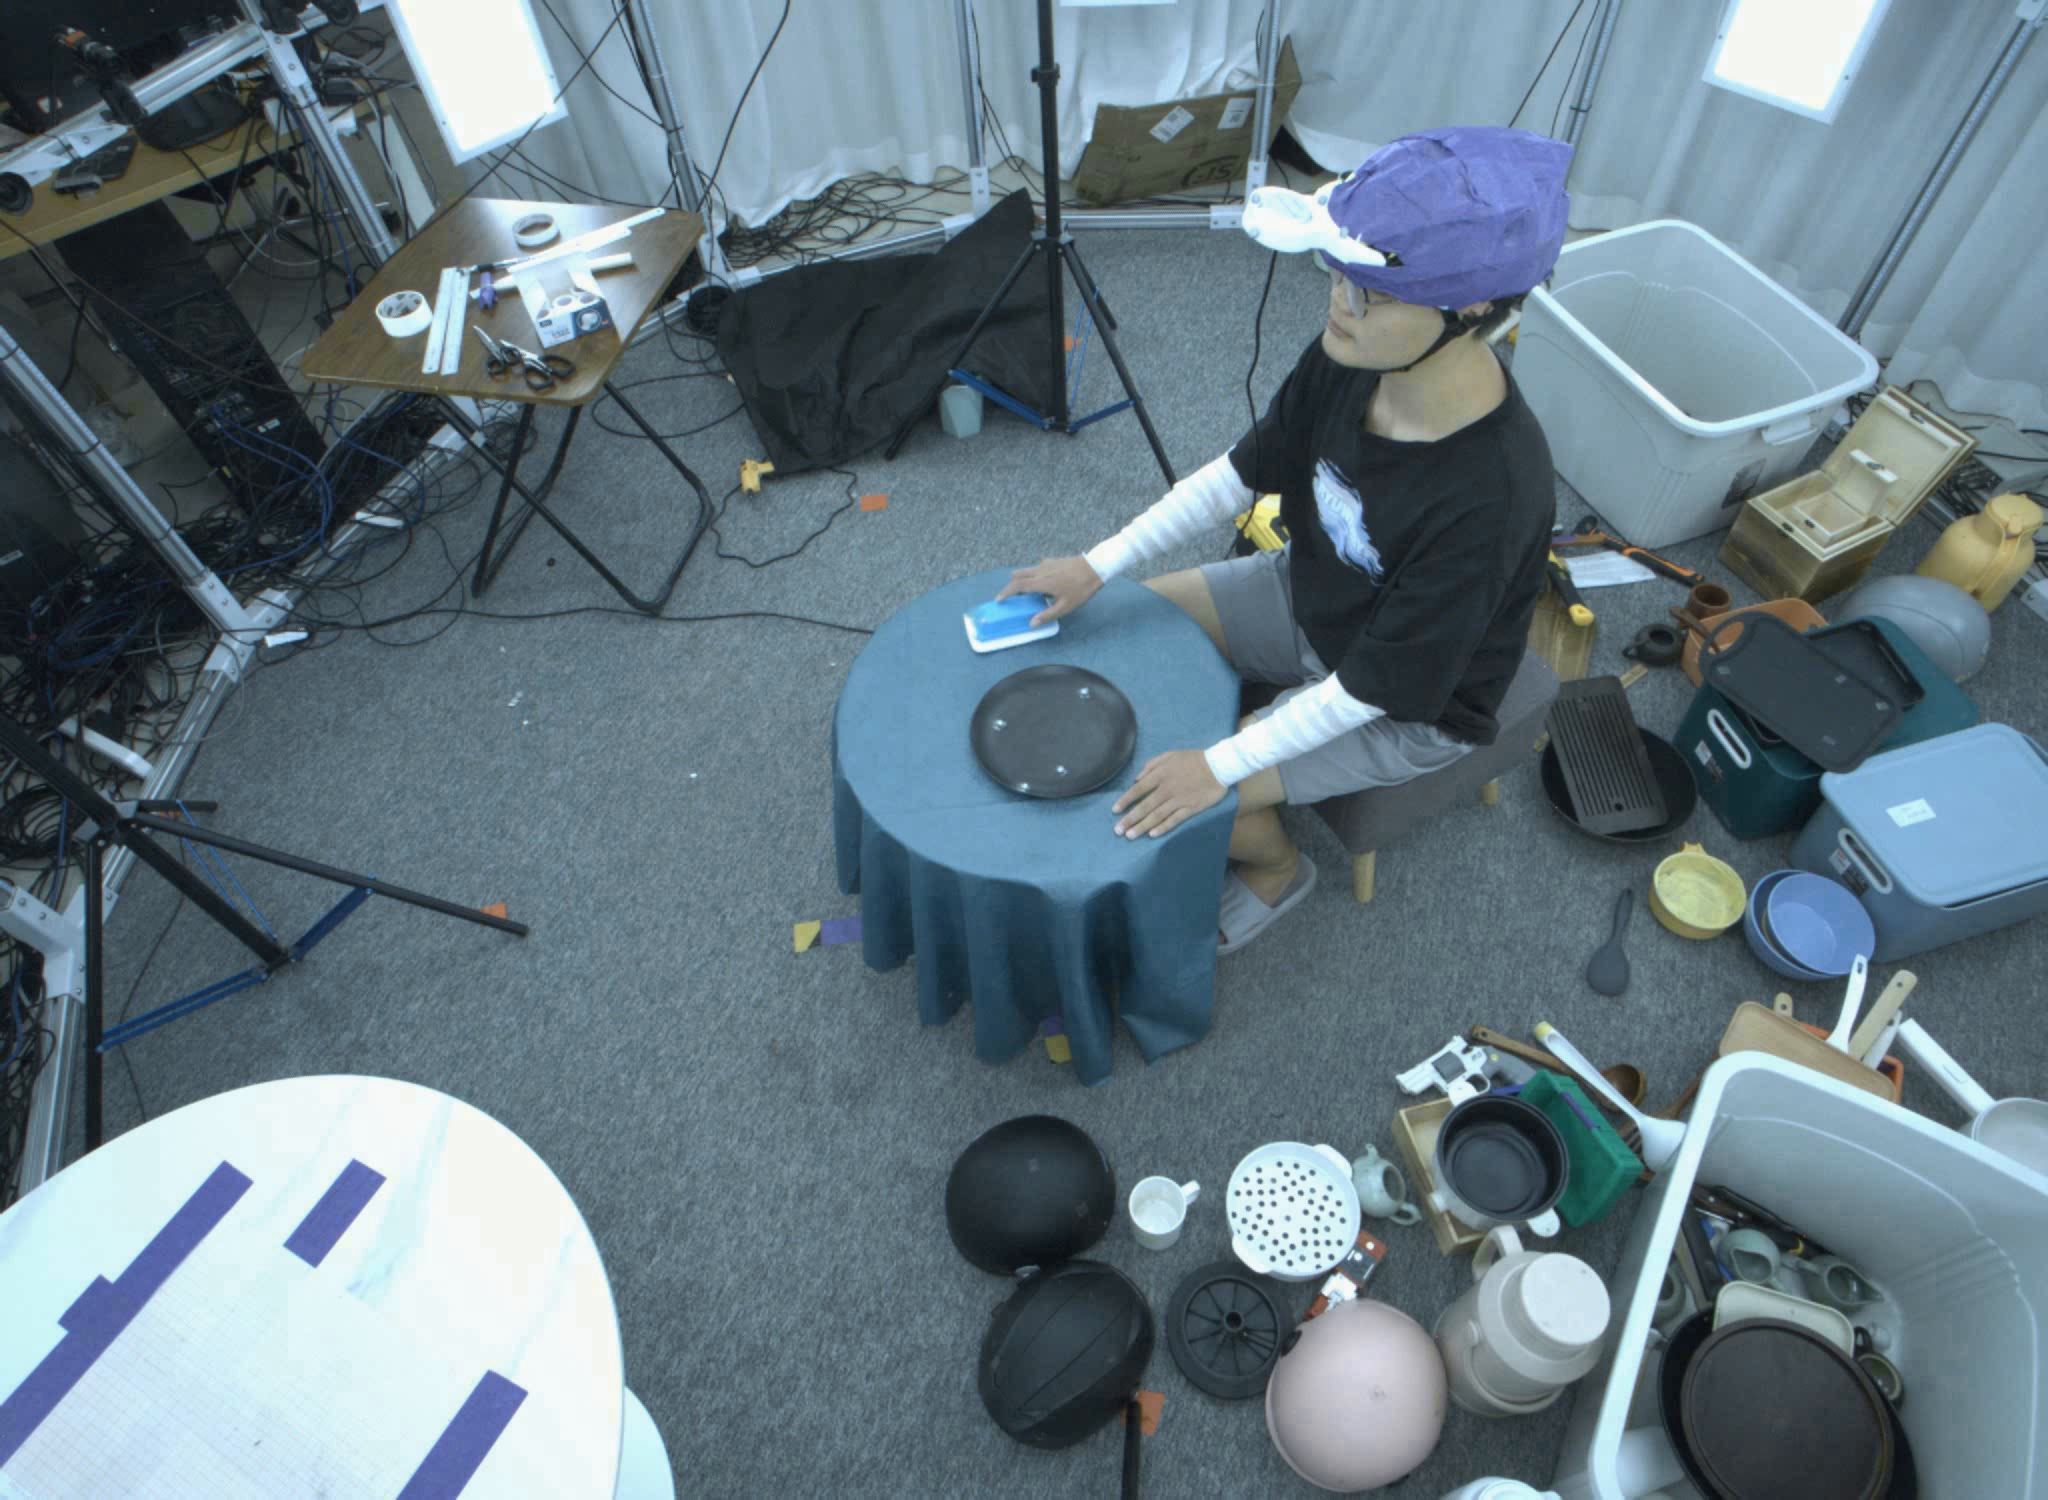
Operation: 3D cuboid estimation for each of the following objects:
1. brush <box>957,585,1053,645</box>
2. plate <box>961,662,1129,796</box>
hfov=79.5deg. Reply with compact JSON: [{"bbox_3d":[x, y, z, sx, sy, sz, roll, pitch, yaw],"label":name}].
[{"bbox_3d":[-0.030,-0.217,1.895,0.144,0.056,0.082,-16,59,-5],"label":"brush"},{"bbox_3d":[0.030,-0.029,1.783,0.244,0.024,0.242,-1,54,2],"label":"plate"}]
